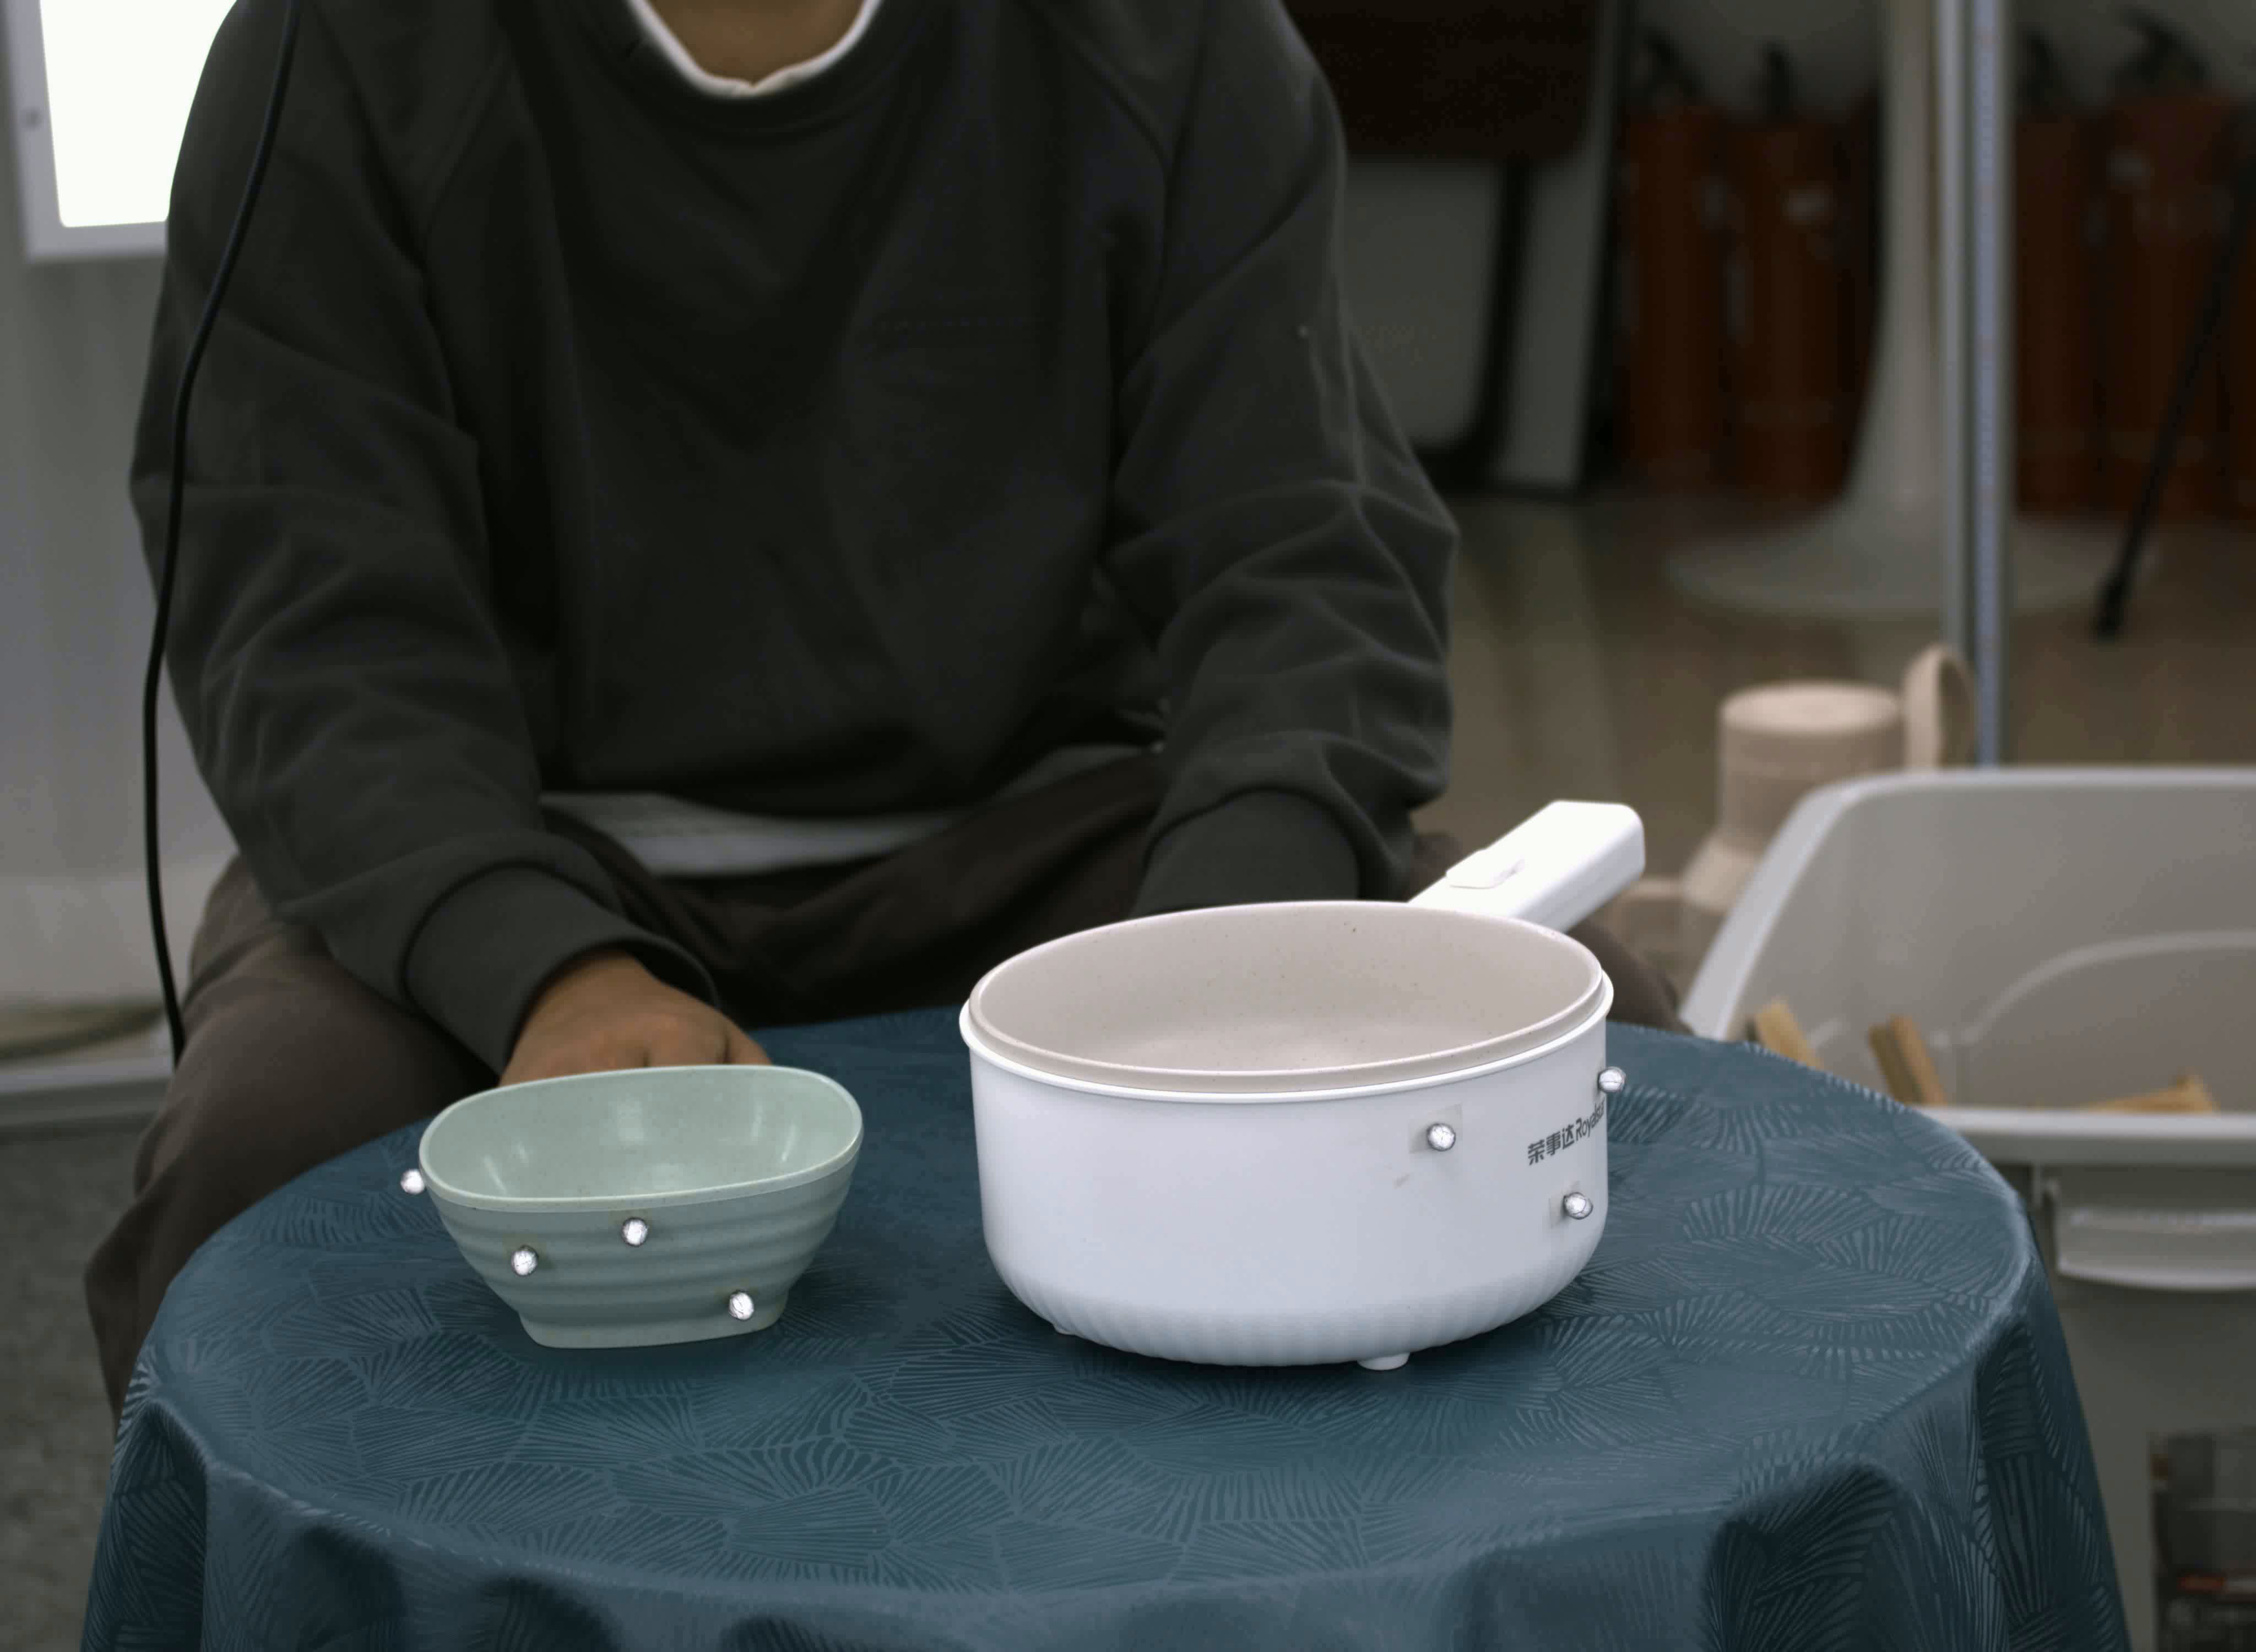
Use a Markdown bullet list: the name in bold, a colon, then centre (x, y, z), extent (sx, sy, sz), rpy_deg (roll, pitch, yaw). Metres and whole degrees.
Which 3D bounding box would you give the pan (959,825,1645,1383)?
- **pan**: centre (0.085, 0.084, 1.717), extent (0.202, 0.103, 0.350), rpy_deg (0, 12, 27)

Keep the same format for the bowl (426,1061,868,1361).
- **bowl**: centre (-0.147, 0.123, 1.687), extent (0.149, 0.059, 0.152), rpy_deg (-5, 15, 0)
